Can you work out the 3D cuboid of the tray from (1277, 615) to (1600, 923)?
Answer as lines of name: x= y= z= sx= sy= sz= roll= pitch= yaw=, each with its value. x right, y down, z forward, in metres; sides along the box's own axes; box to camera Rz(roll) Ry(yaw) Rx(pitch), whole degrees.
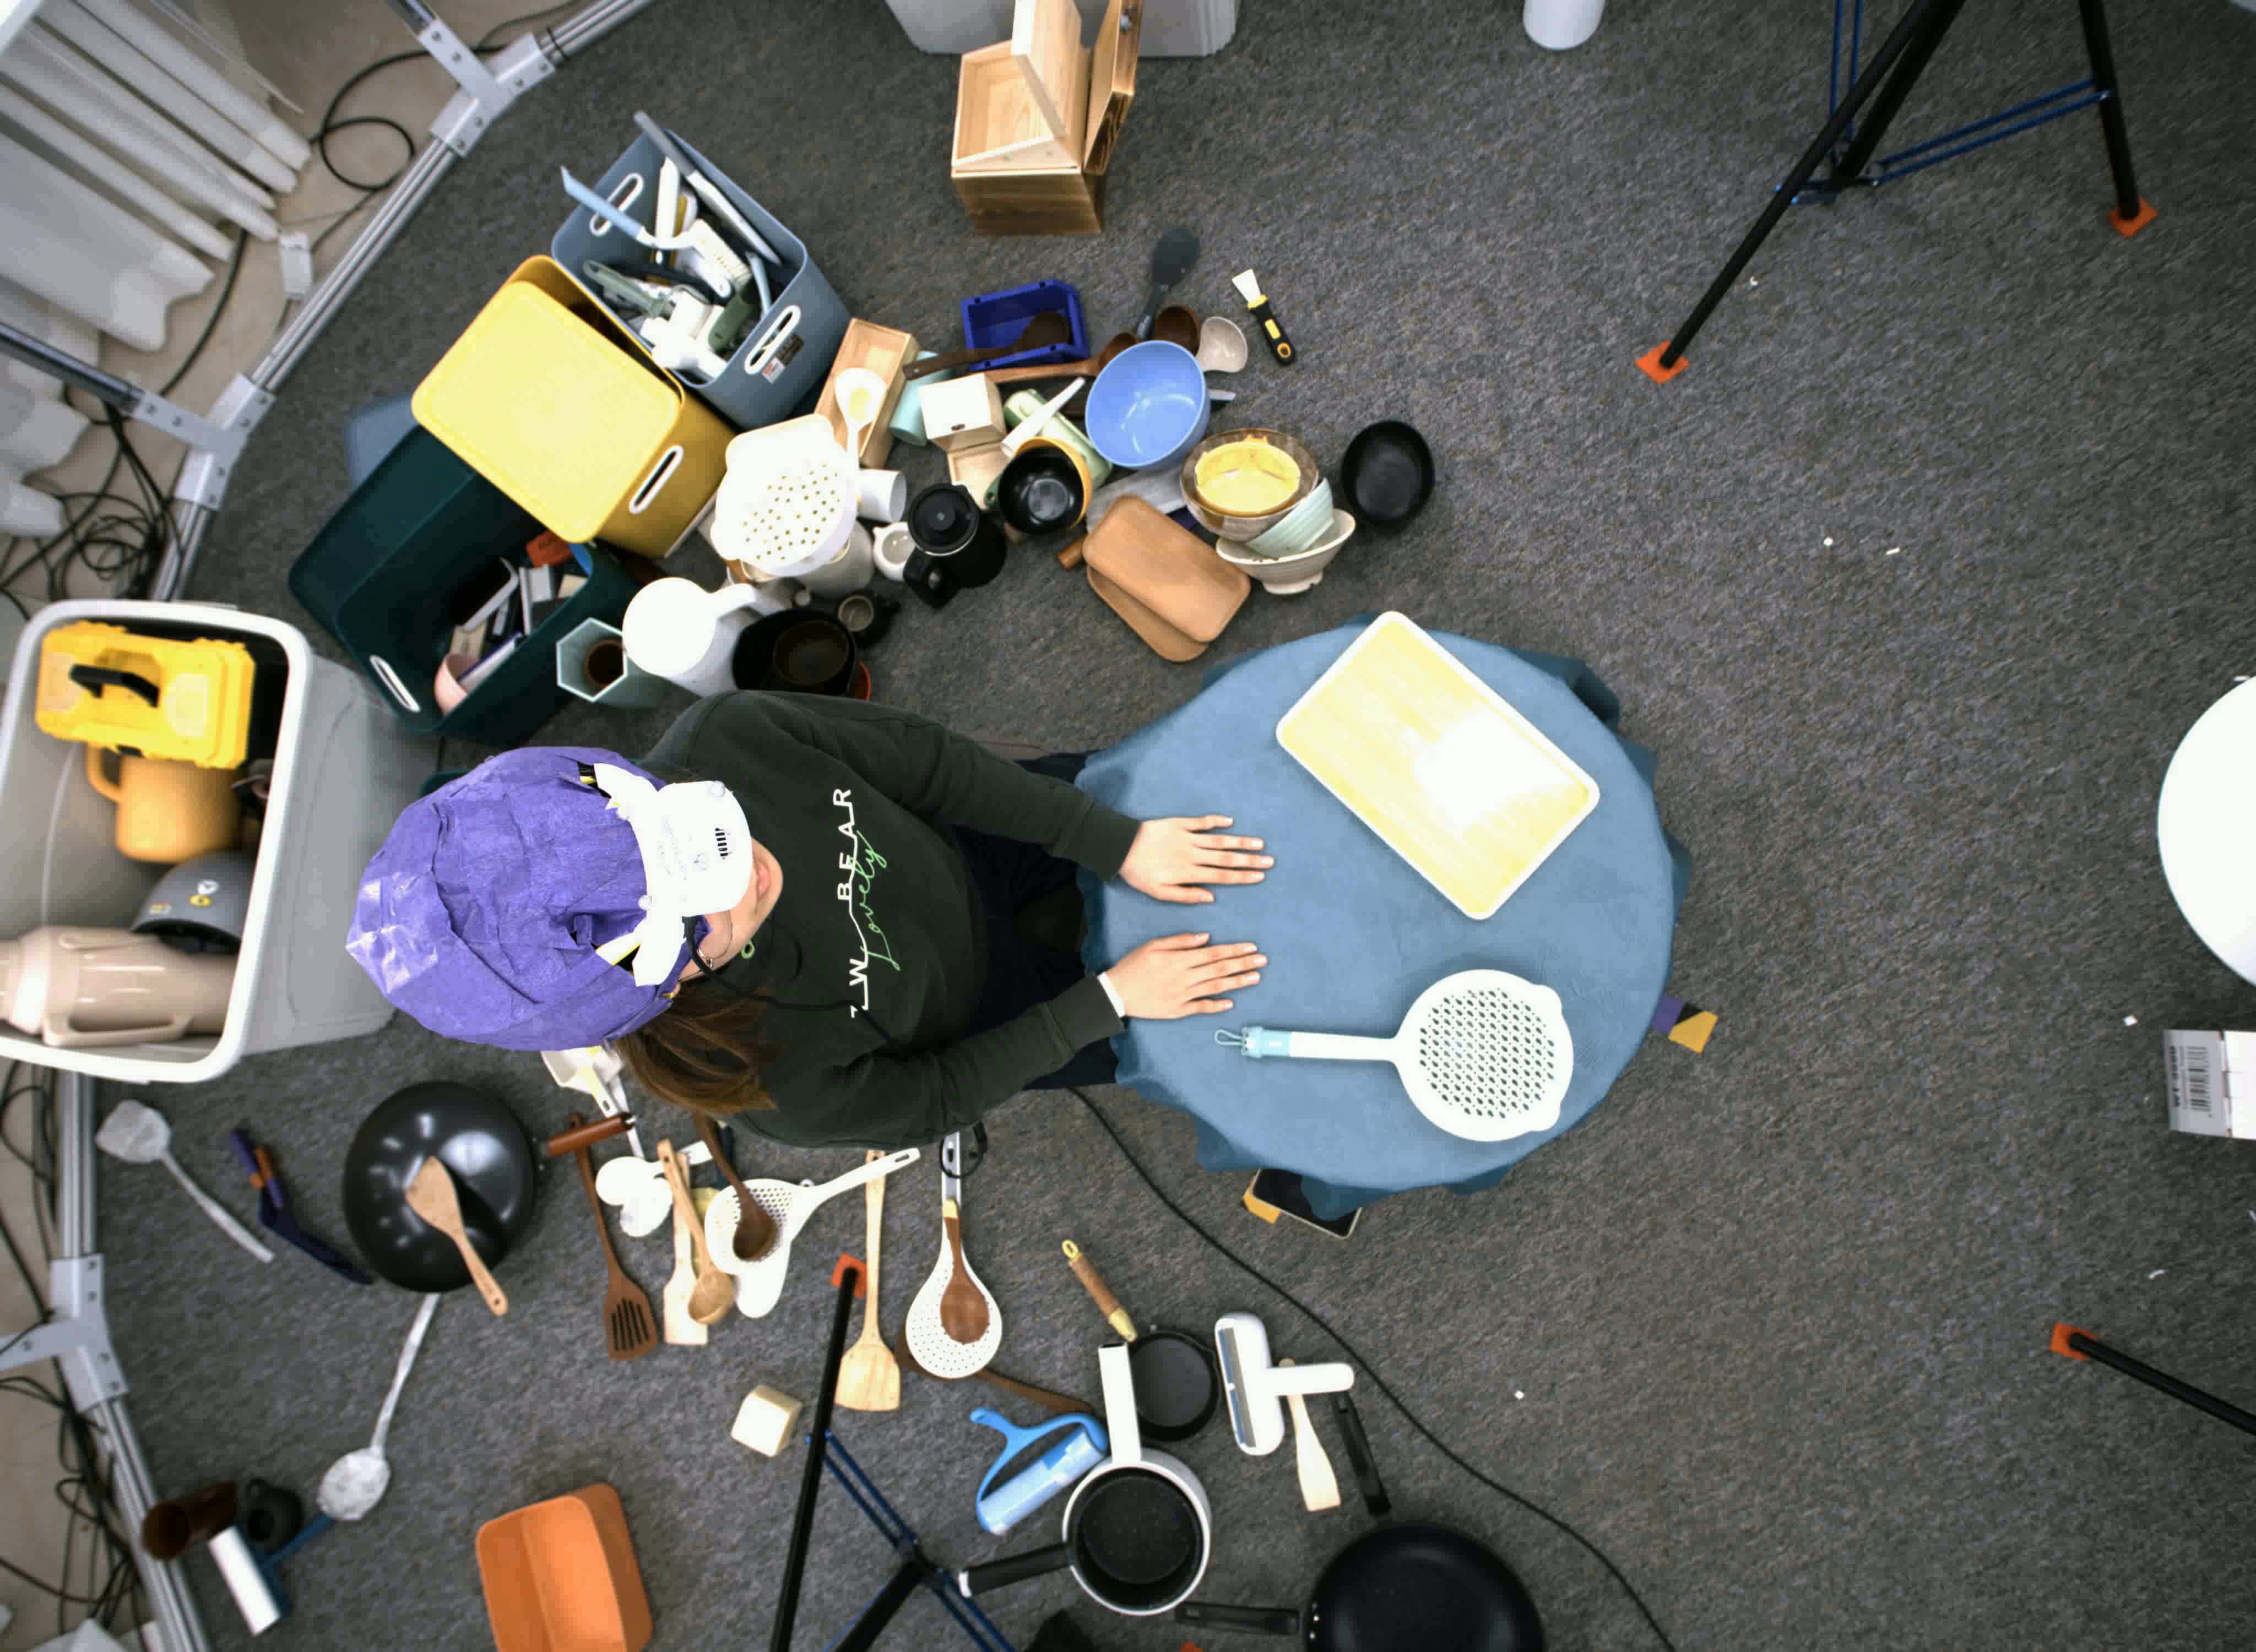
tray: x=0.324 y=-0.063 z=1.451 sx=0.299 sy=0.027 sz=0.192 roll=44 pitch=94 yaw=11

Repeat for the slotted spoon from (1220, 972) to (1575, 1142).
slotted spoon: x=0.269 y=0.229 z=1.421 sx=0.360 sy=0.075 sz=0.168 roll=2 pitch=85 yaw=10
